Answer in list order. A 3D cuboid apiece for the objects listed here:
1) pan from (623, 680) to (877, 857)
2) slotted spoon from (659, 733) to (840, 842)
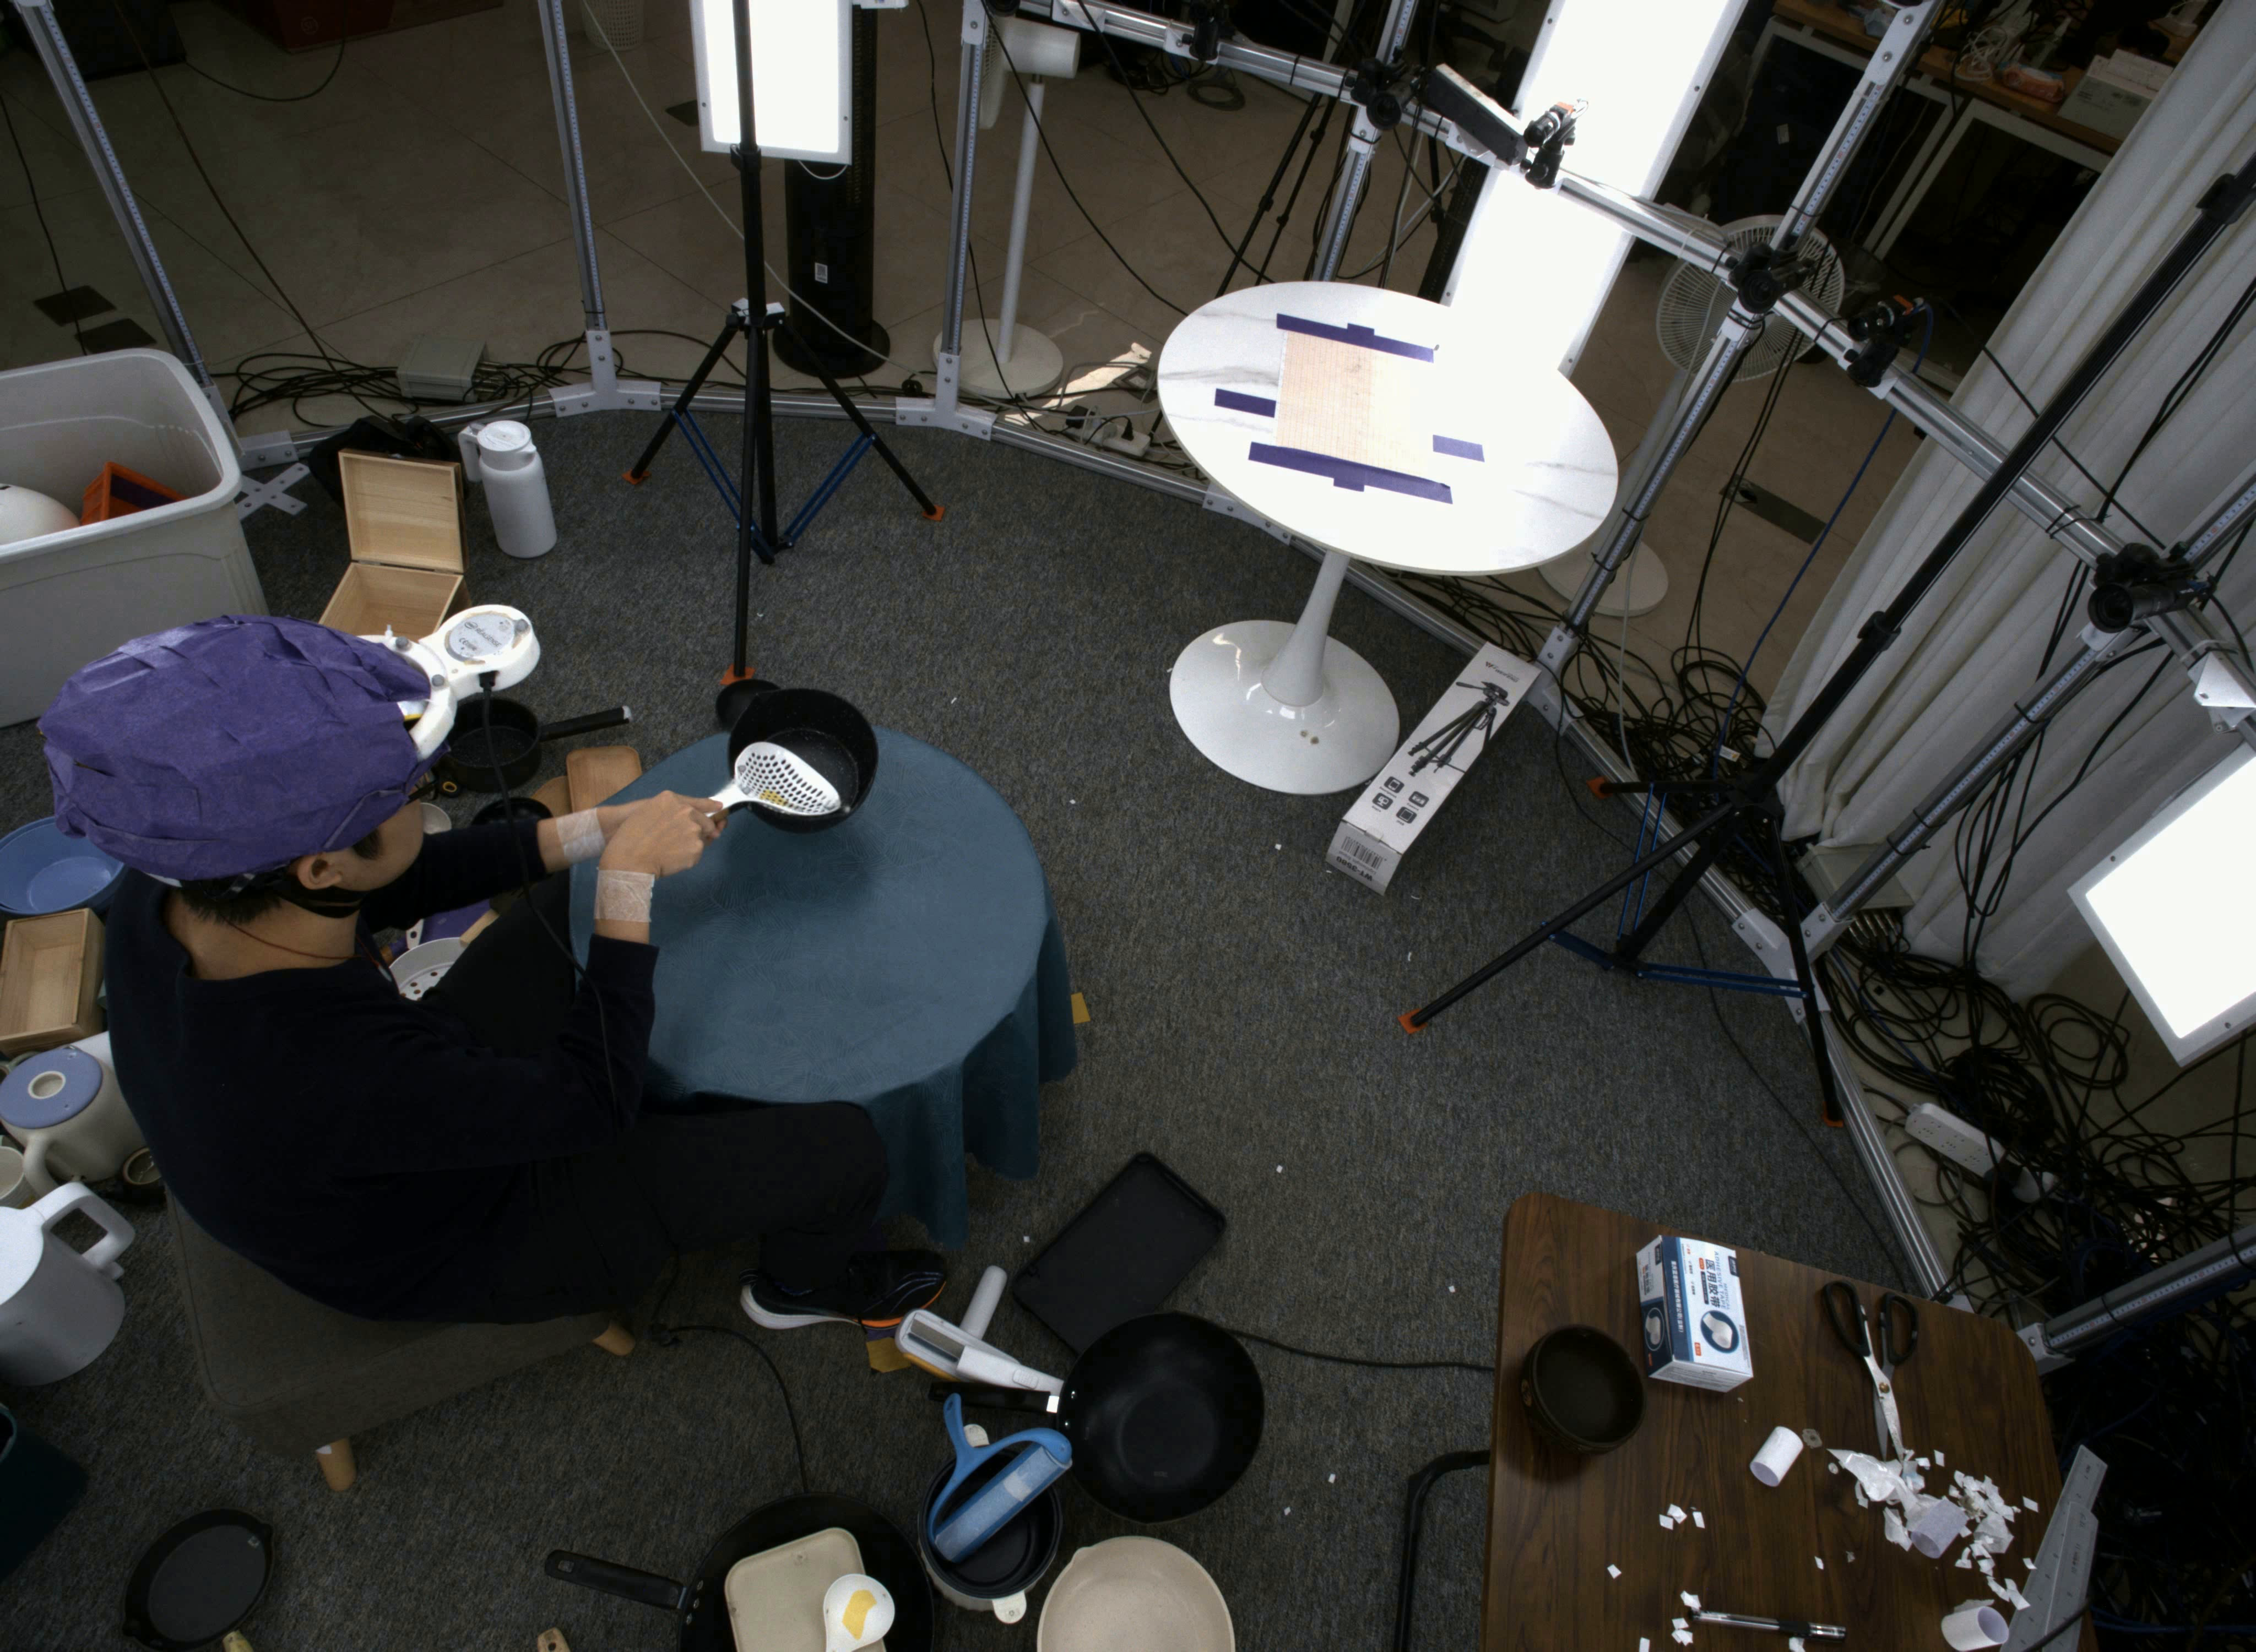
[{"bbox_3d":[-0.465,-0.043,1.586,0.343,0.109,0.206,-38,83,-29],"label":"pan"},{"bbox_3d":[-0.451,-0.037,1.511,0.136,0.050,0.347,41,13,1],"label":"slotted spoon"}]
